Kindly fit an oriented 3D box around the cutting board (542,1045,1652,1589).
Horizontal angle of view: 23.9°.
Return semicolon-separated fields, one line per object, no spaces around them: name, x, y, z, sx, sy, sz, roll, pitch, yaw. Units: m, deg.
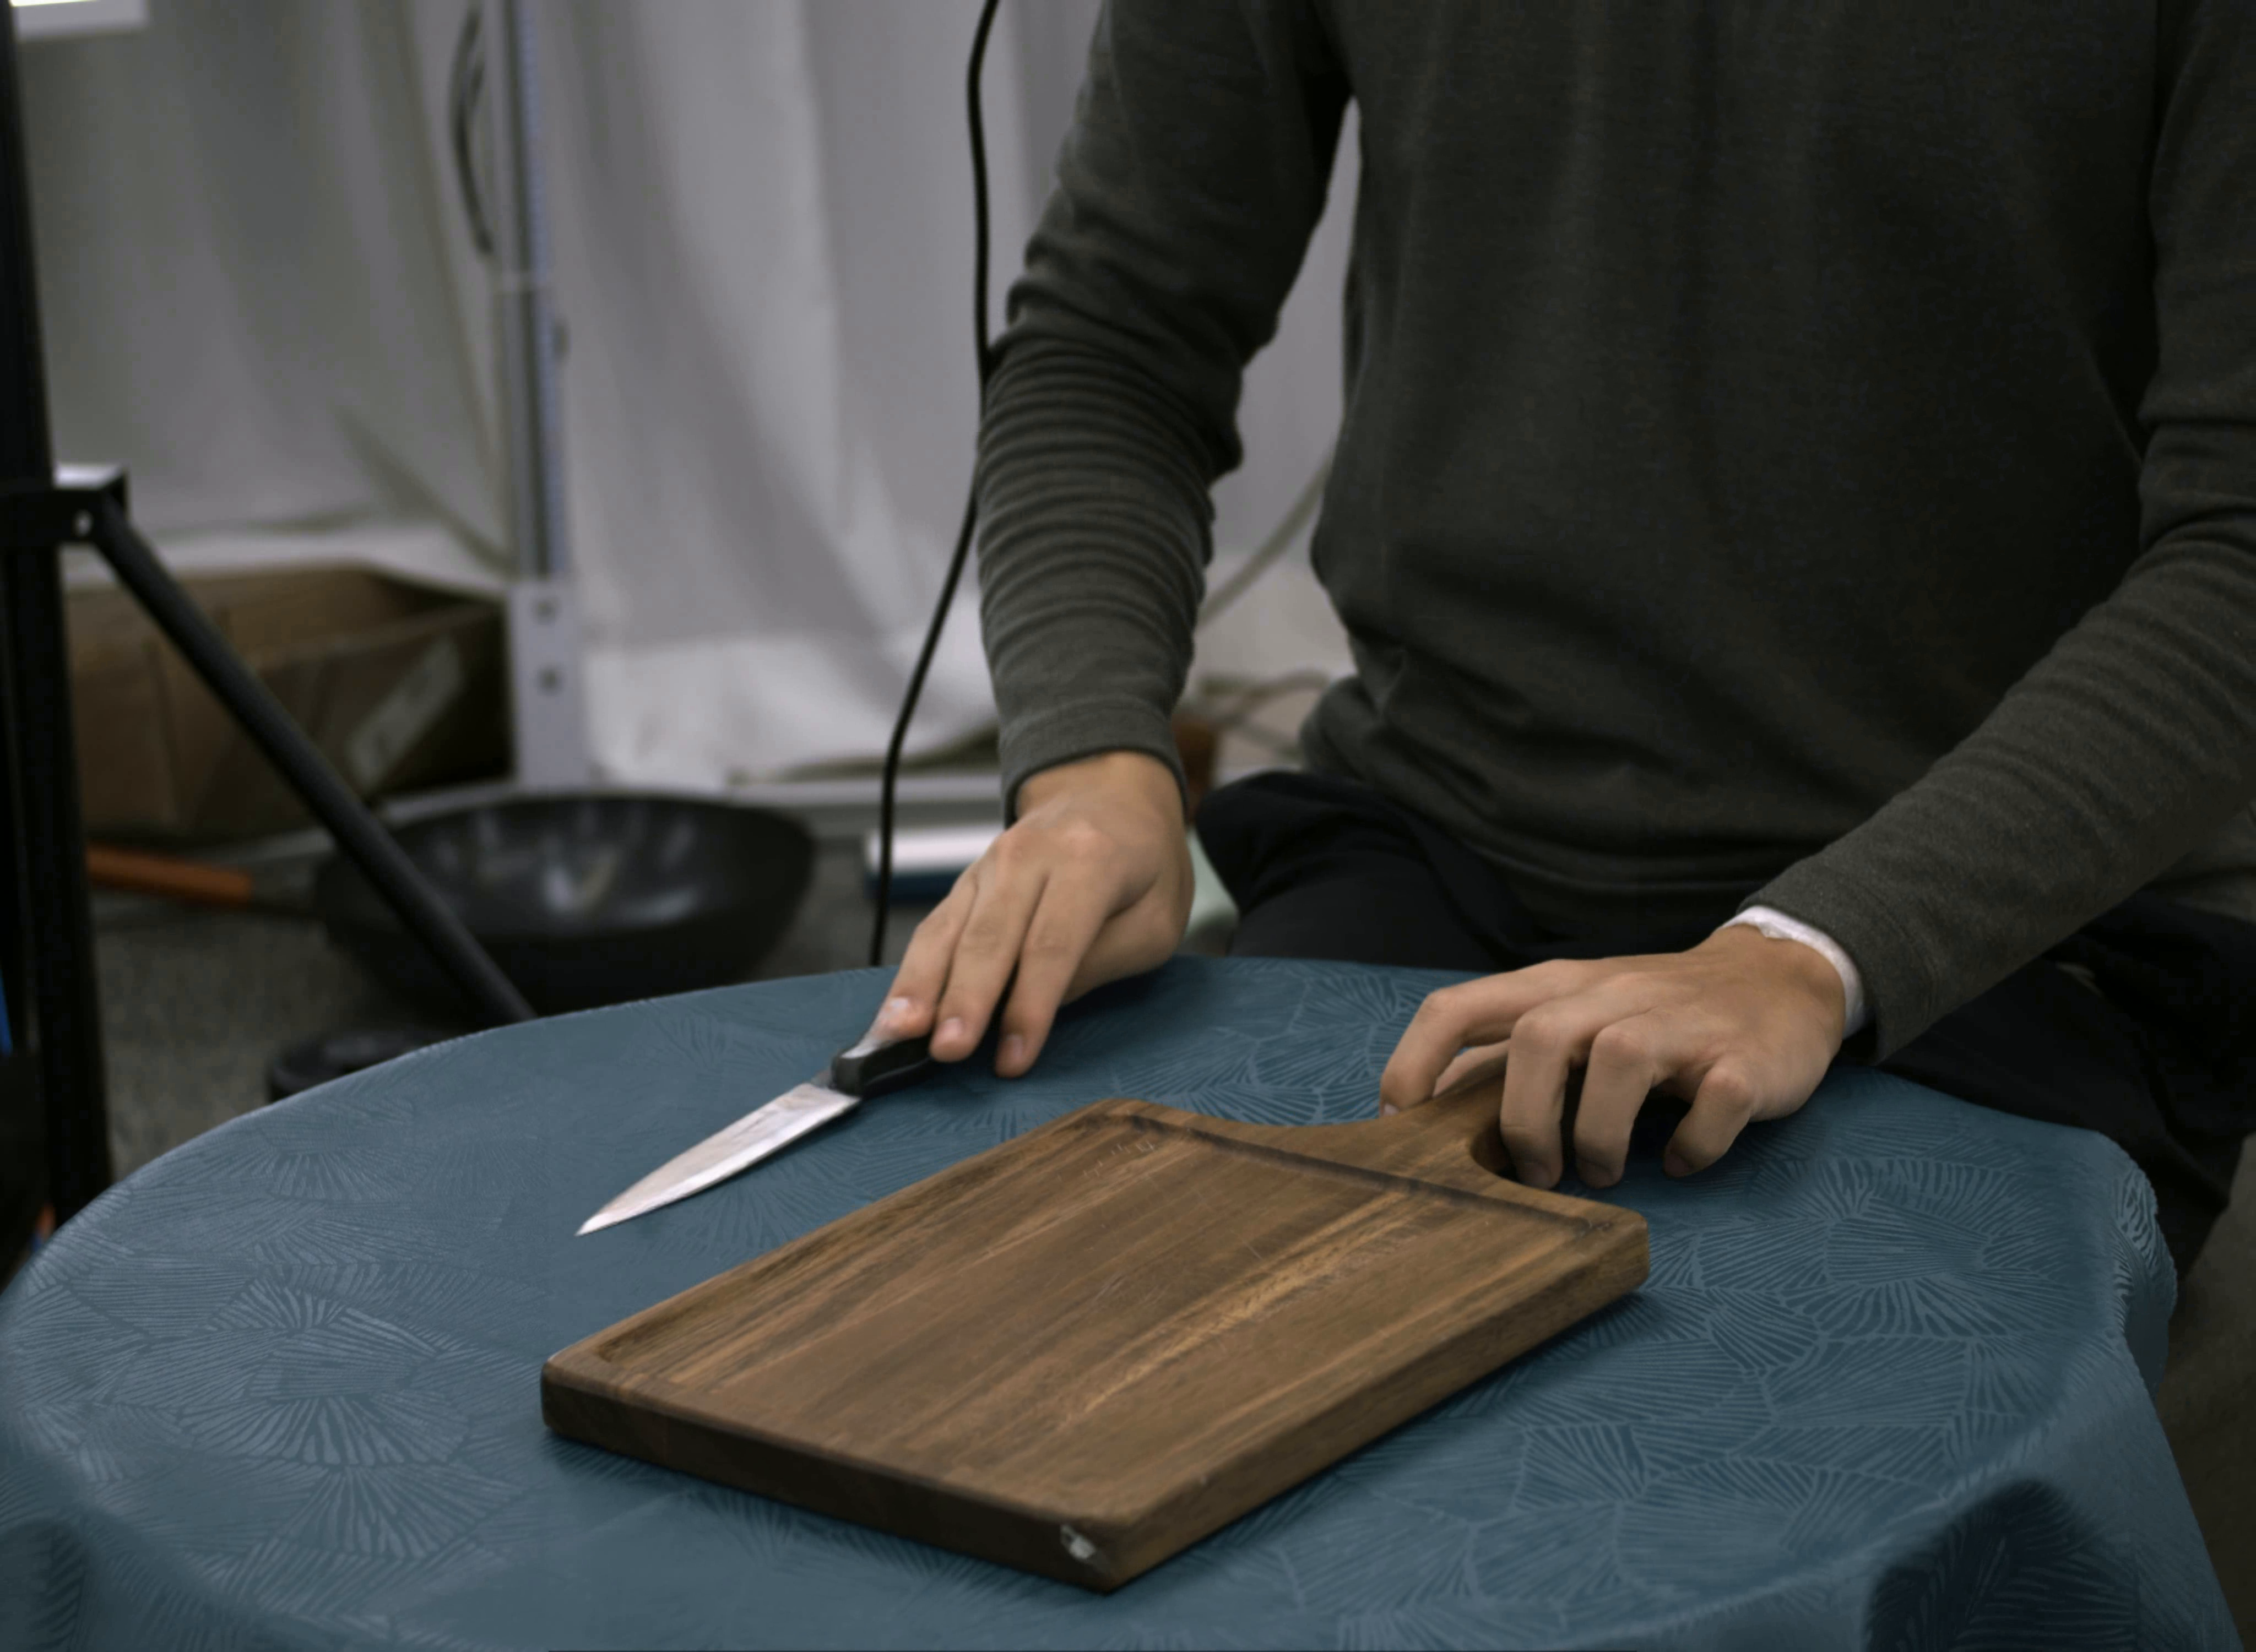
cutting board;0.026;0.120;1.465;0.205;0.023;0.345;10;21;37

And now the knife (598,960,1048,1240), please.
knife;-0.094;0.084;1.641;0.025;0.016;0.234;8;22;31
